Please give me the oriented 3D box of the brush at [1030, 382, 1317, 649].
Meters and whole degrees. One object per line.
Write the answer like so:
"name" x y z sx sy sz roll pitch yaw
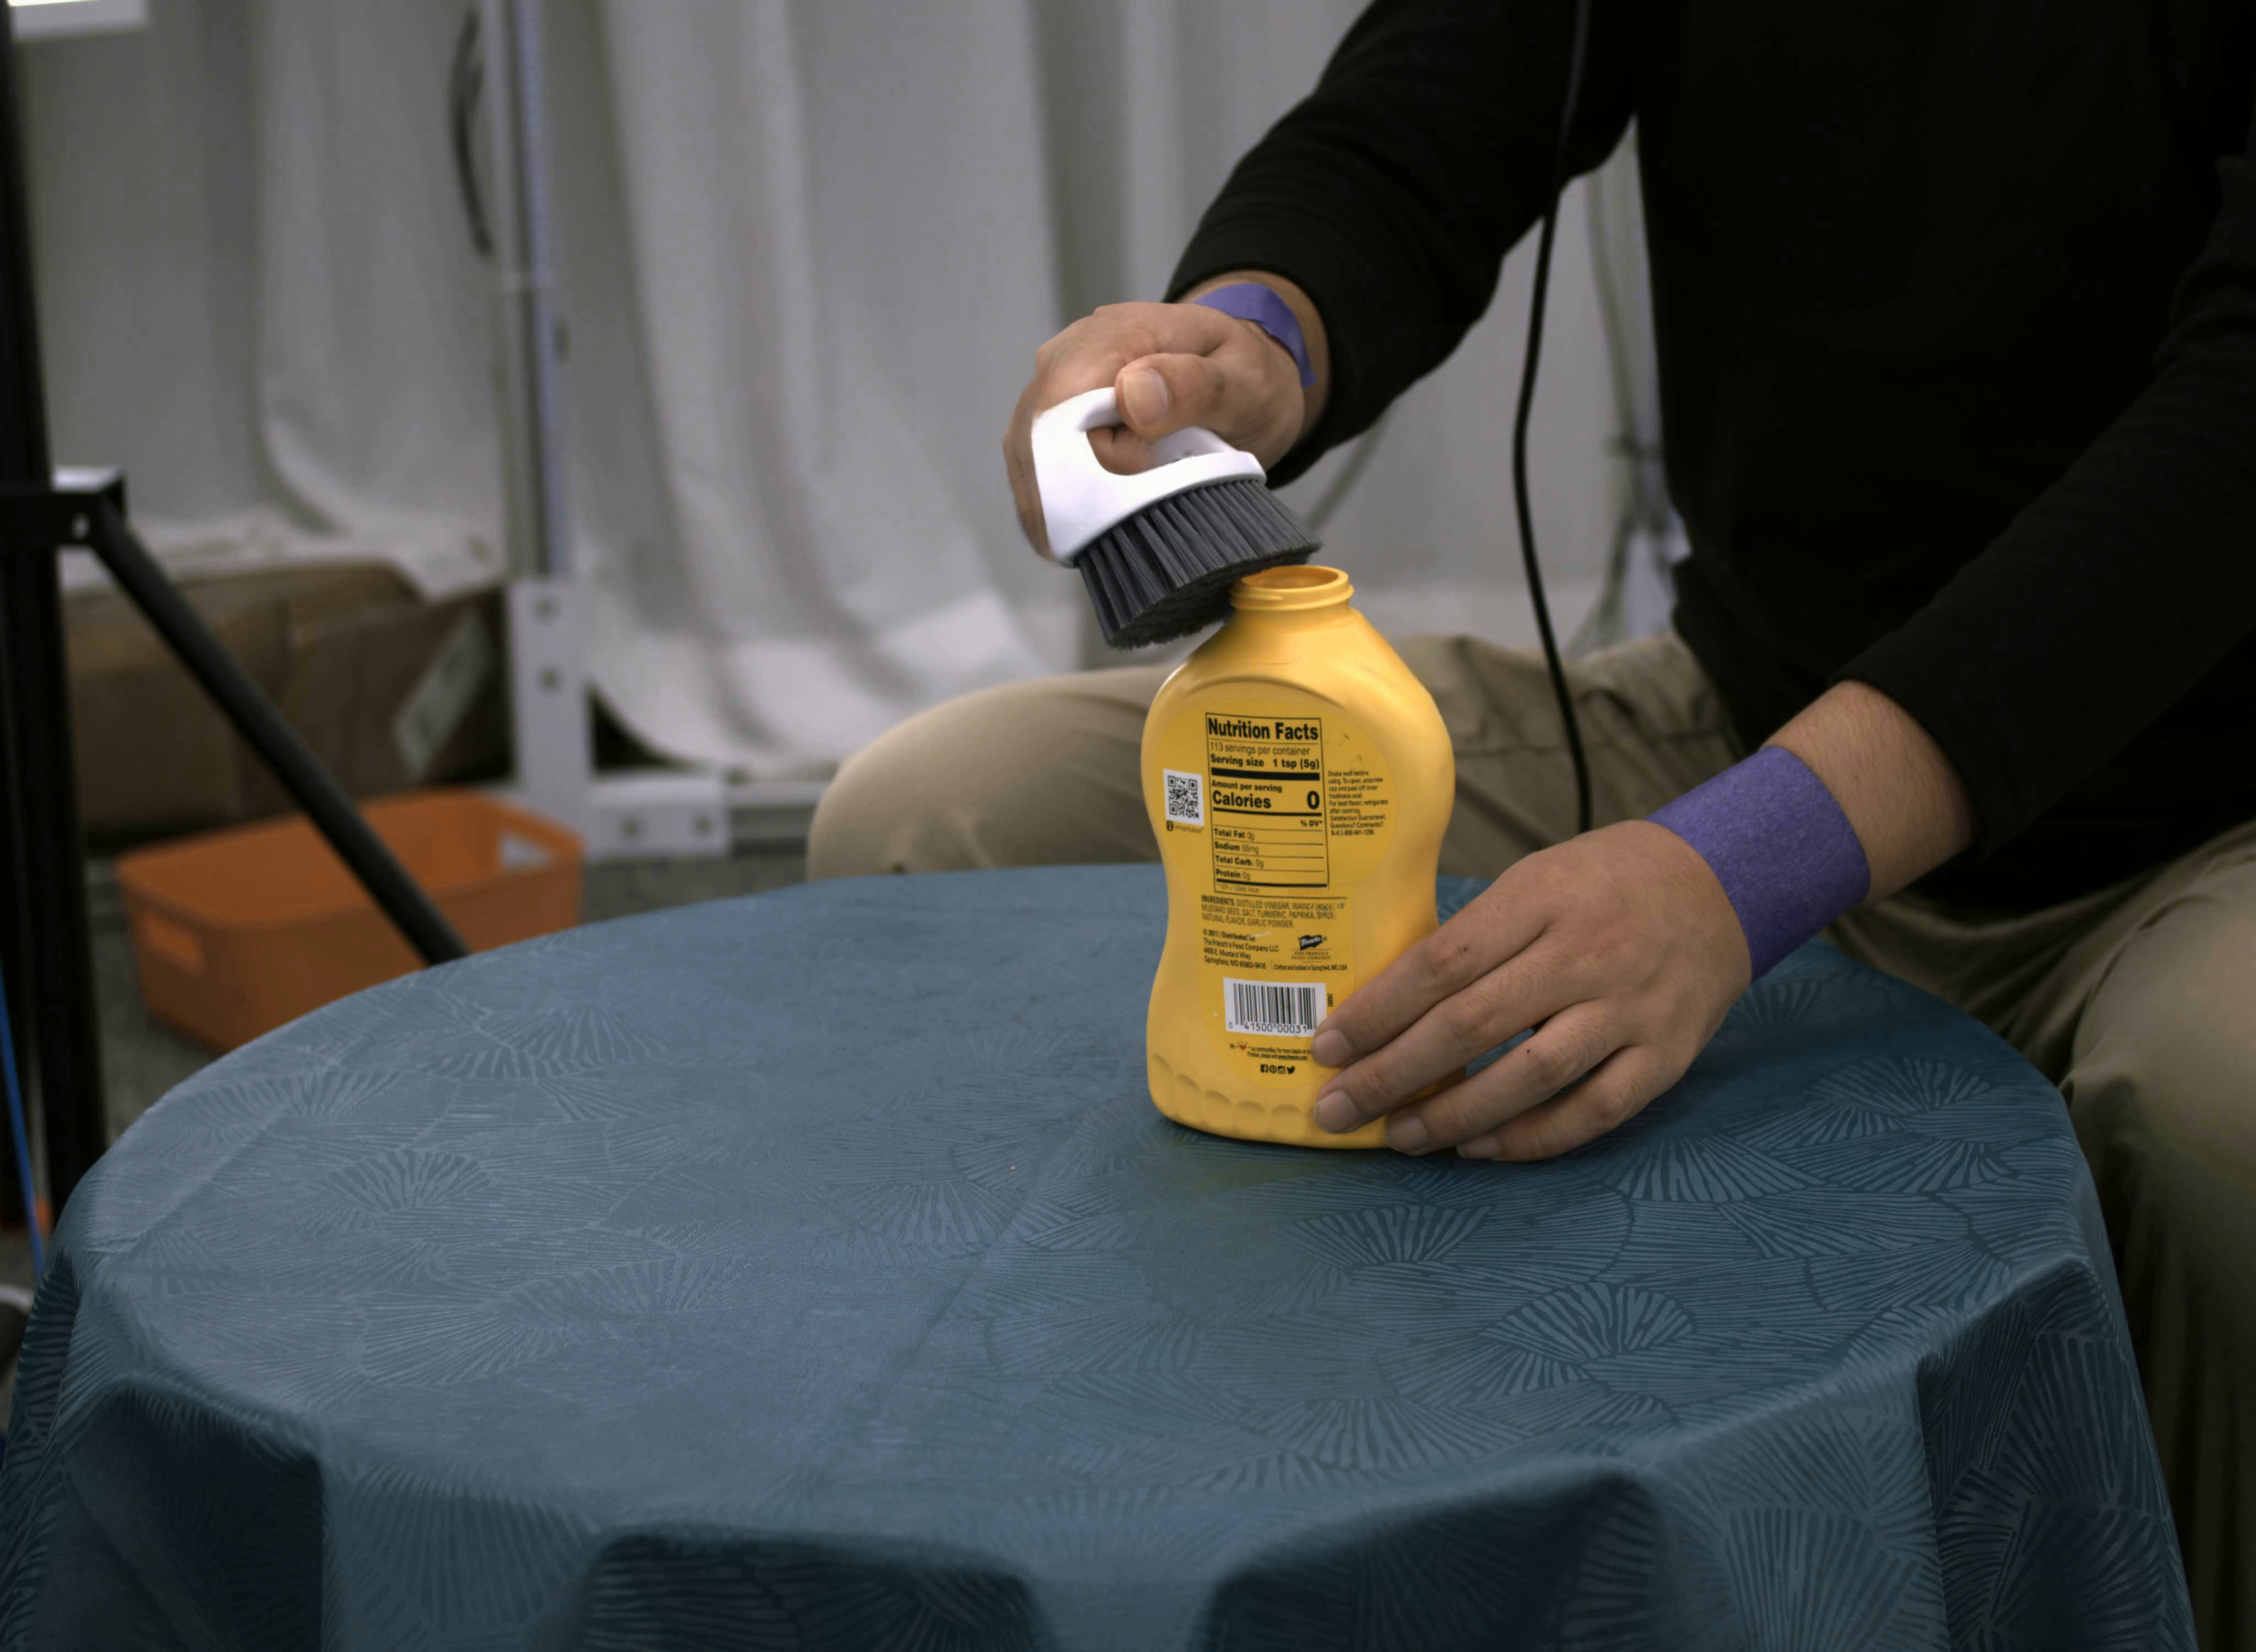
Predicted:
"brush" 0.007 -0.098 1.582 0.051 0.073 0.097 -37 -10 29

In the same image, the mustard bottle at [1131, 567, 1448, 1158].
"mustard bottle" 0.048 0.010 1.592 0.099 0.172 0.058 3 12 23
